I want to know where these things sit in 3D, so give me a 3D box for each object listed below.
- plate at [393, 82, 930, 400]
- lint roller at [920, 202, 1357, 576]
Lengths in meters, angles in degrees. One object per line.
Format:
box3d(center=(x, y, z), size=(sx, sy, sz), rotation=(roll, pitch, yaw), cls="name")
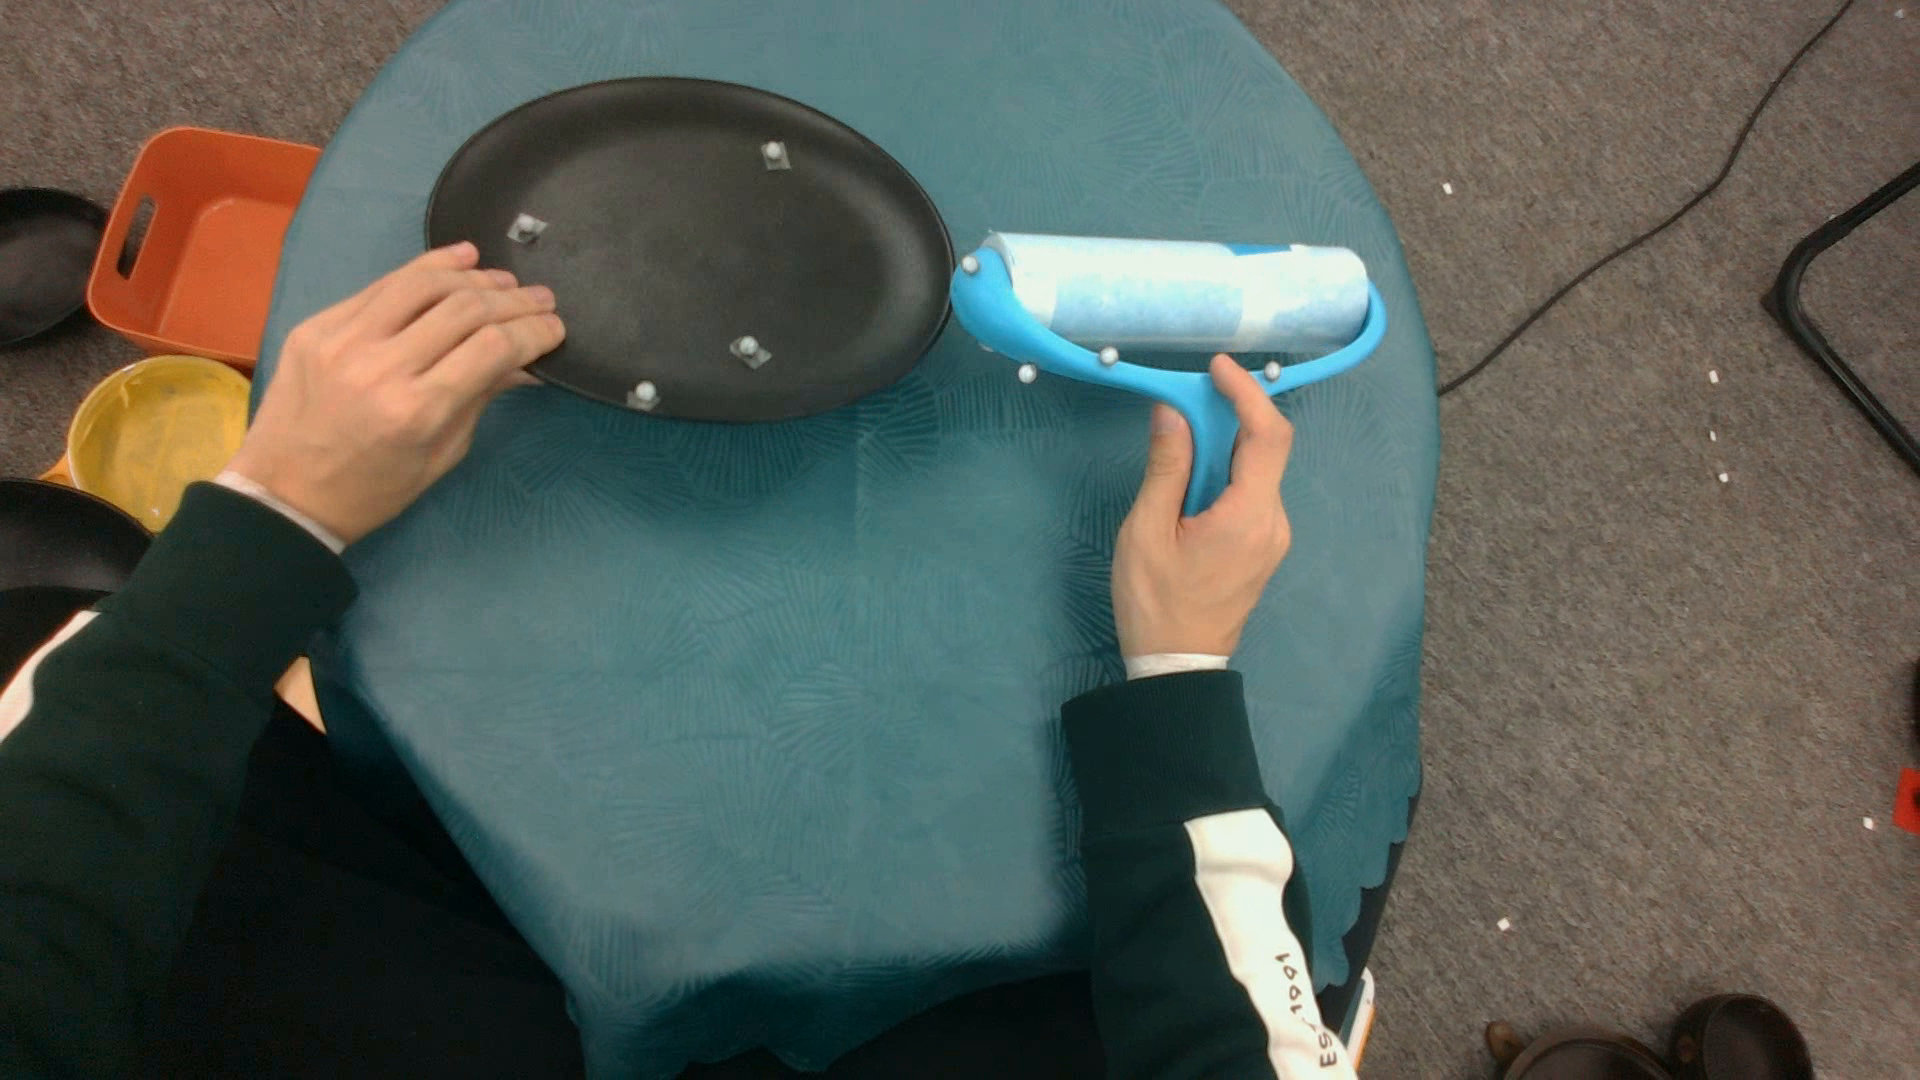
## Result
box3d(center=(-0.136, -0.142, 0.649), size=(0.244, 0.023, 0.245), rotation=(6, 47, -6), cls="plate")
box3d(center=(0.097, -0.073, 0.655), size=(0.229, 0.068, 0.180), rotation=(-9, 92, -26), cls="lint roller")
